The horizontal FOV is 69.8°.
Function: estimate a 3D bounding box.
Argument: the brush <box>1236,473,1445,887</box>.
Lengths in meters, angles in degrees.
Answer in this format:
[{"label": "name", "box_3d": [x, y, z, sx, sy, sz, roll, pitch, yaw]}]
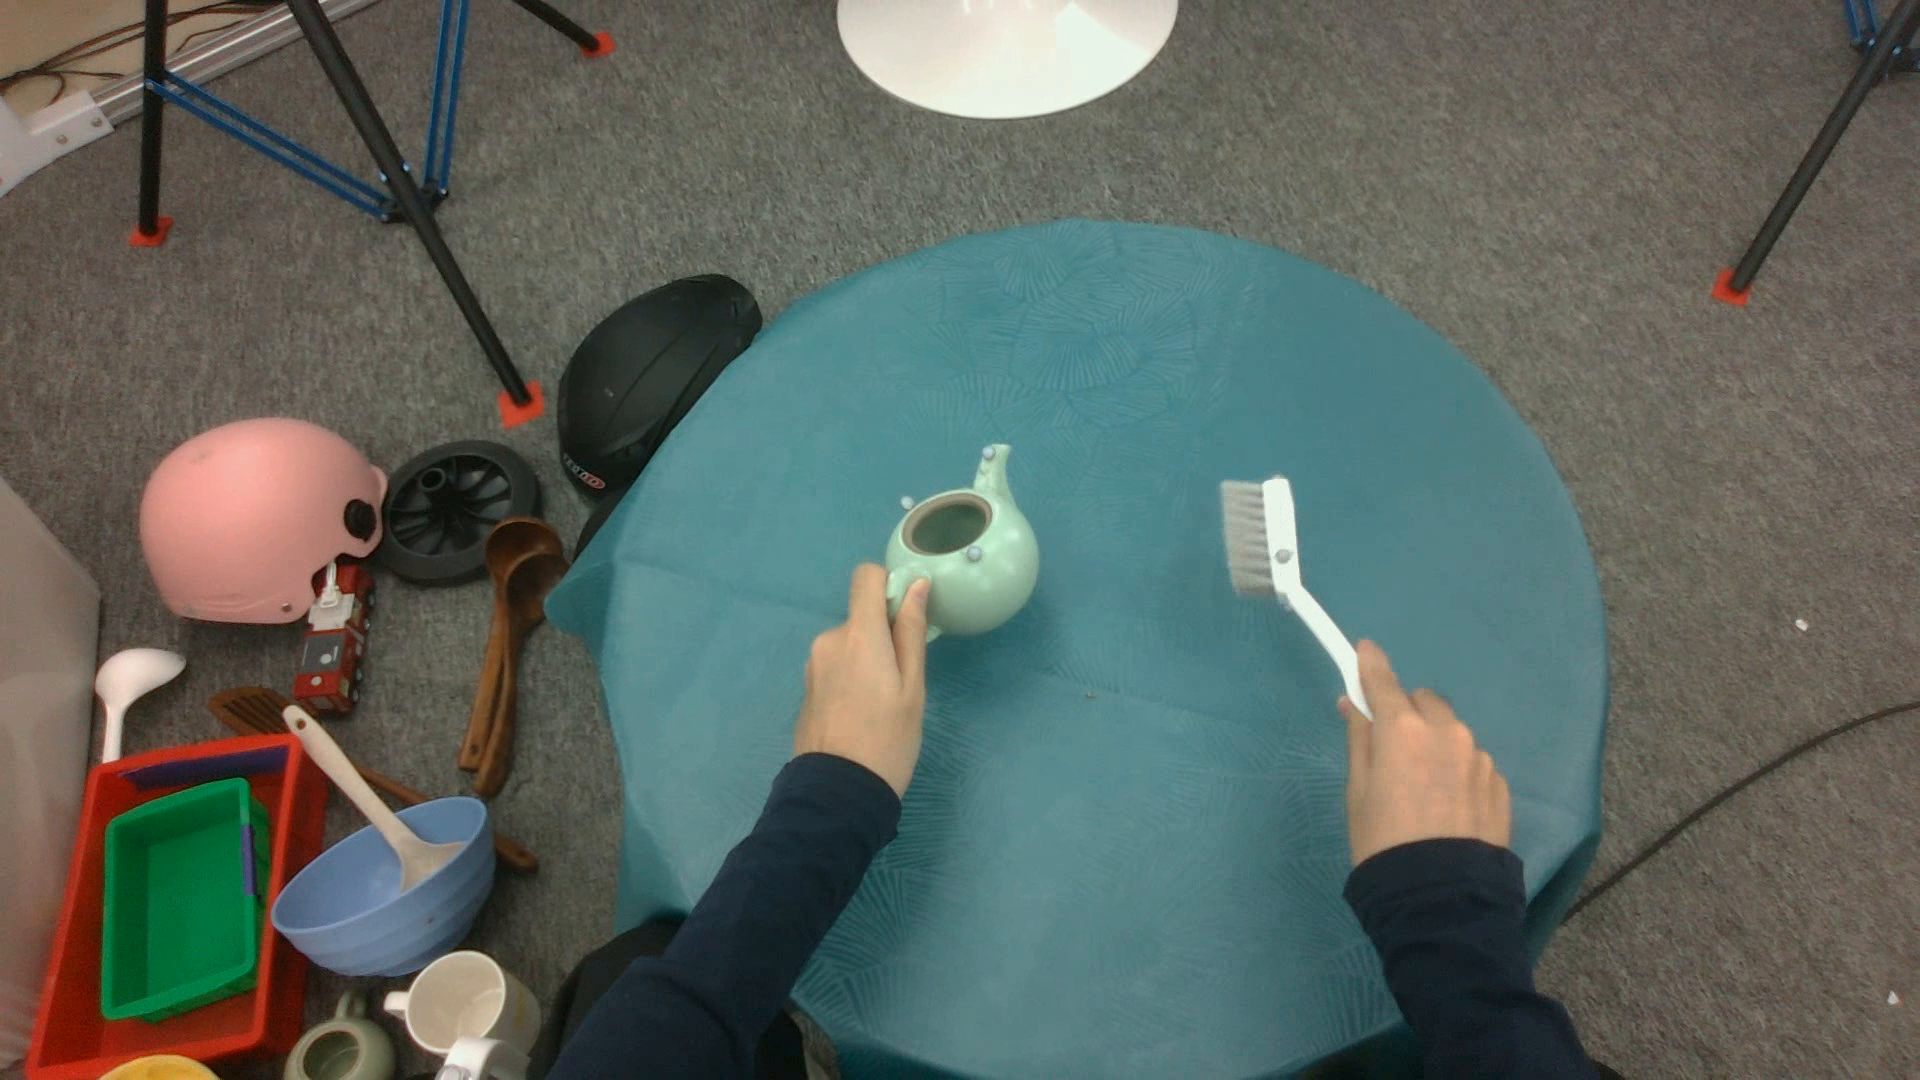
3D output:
[{"label": "brush", "box_3d": [0.196, 0.072, 0.745, 0.050, 0.034, 0.244, -16, 68, 3]}]

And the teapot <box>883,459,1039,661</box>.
[{"label": "teapot", "box_3d": [0.002, 0.021, 0.794, 0.088, 0.074, 0.144, 11, 46, 32]}]
